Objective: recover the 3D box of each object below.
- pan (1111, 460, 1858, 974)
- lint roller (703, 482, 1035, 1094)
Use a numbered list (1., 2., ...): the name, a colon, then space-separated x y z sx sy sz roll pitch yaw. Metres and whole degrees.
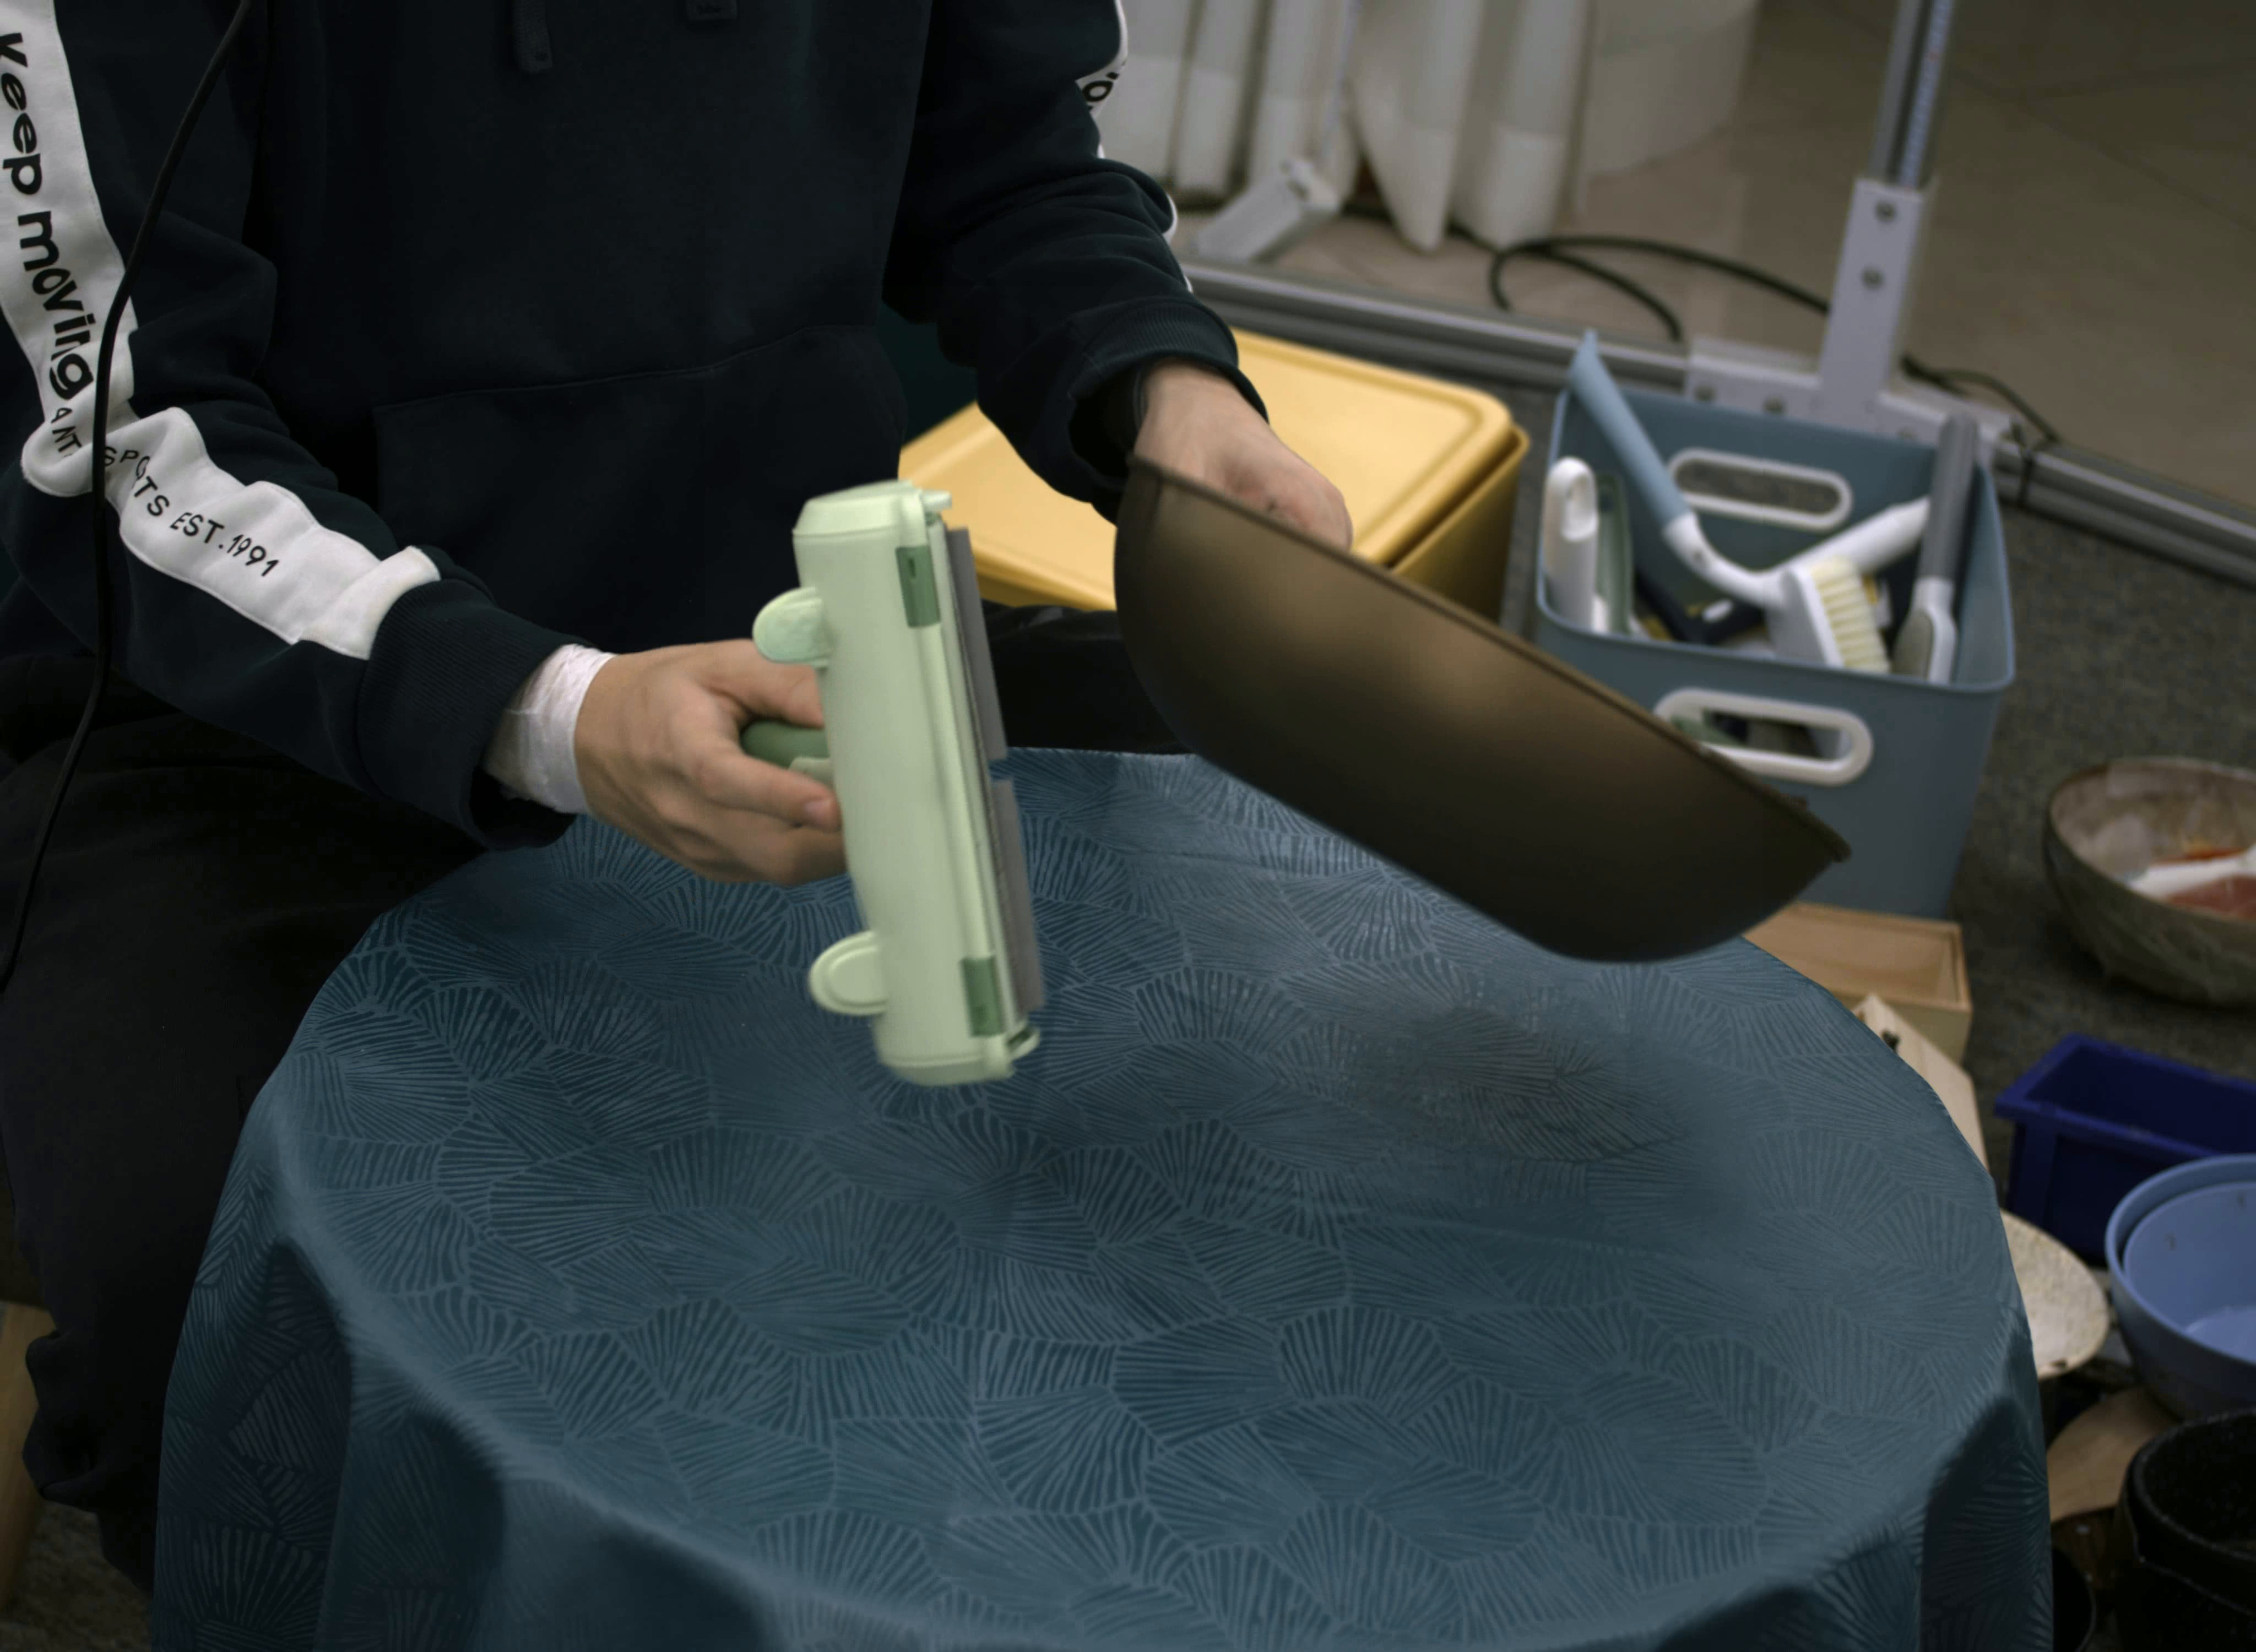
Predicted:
1. pan: 0.069 -0.043 1.889 0.286 0.087 0.466 29 0 -26
2. lint roller: -0.111 -0.011 1.777 0.081 0.199 0.184 -13 8 -38
